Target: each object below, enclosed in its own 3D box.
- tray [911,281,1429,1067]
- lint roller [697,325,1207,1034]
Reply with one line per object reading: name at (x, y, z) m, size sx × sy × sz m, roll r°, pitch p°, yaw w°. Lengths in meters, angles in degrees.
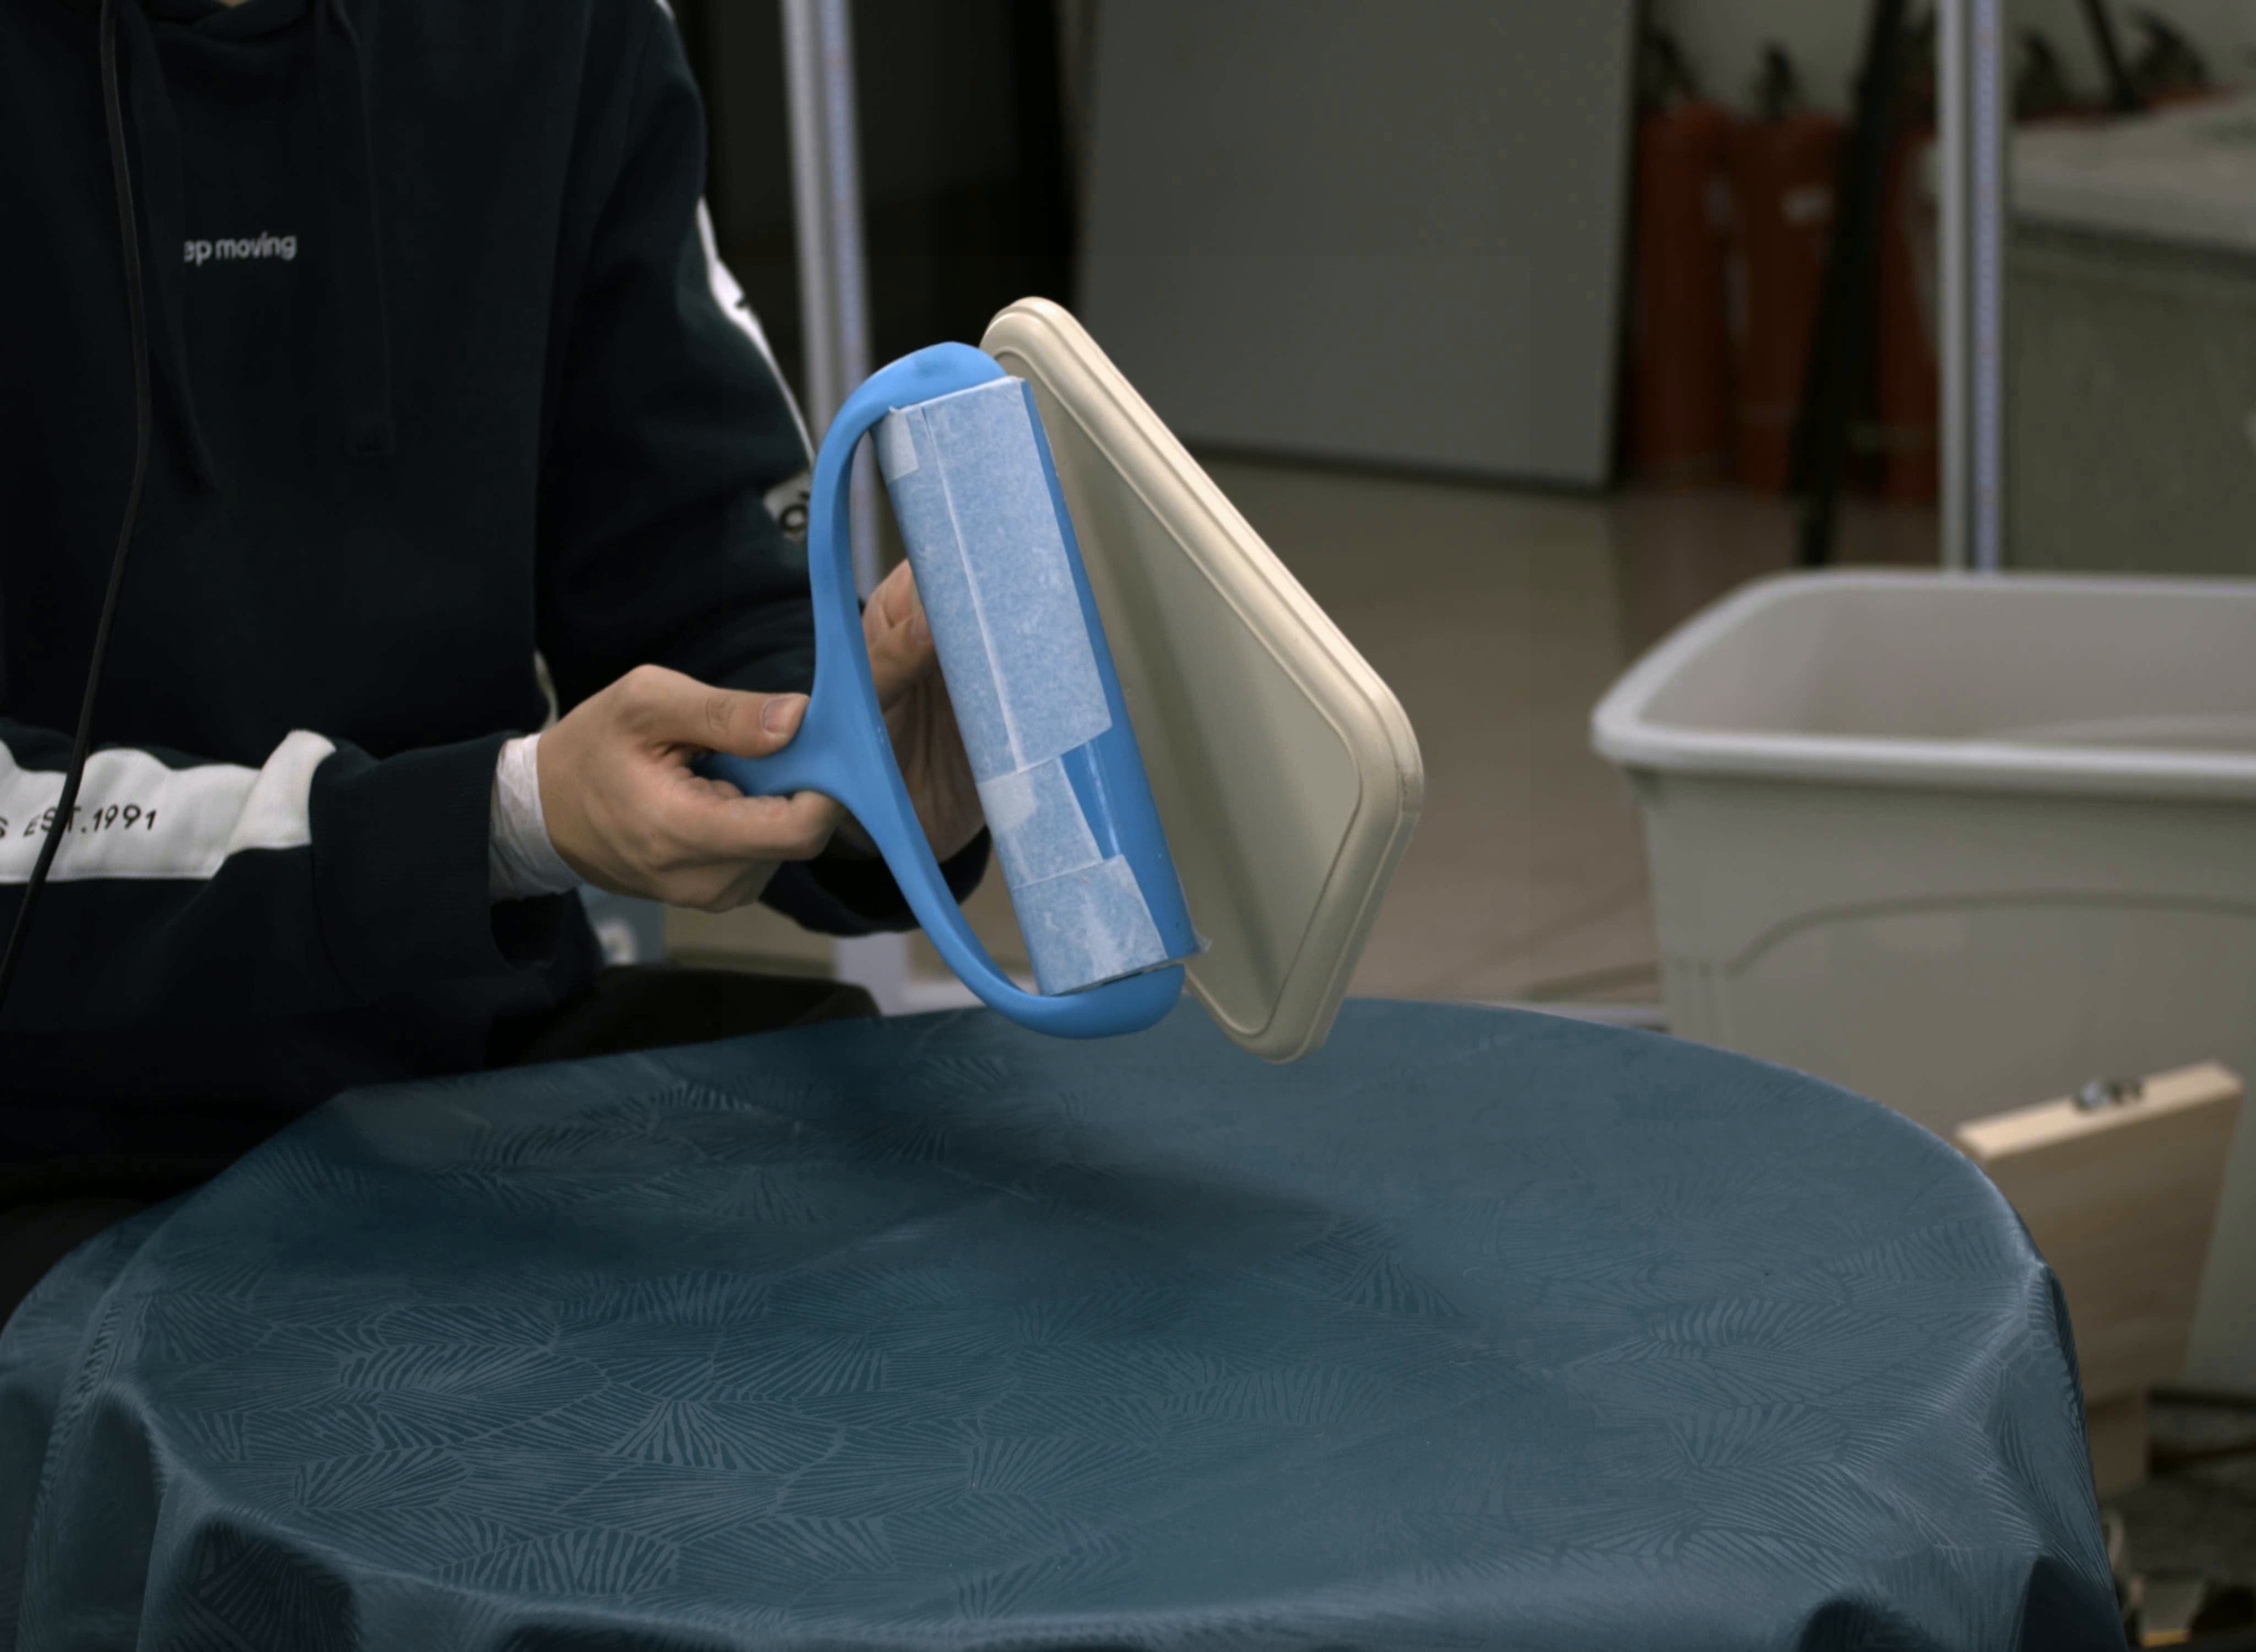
tray at (0.007, -0.048, 1.758) m, size 0.017 × 0.173 × 0.242 m, roll -18°, pitch 55°, yaw -33°
lint roller at (-0.078, -0.028, 1.741) m, size 0.181 × 0.231 × 0.067 m, roll -21°, pitch -3°, yaw 28°
